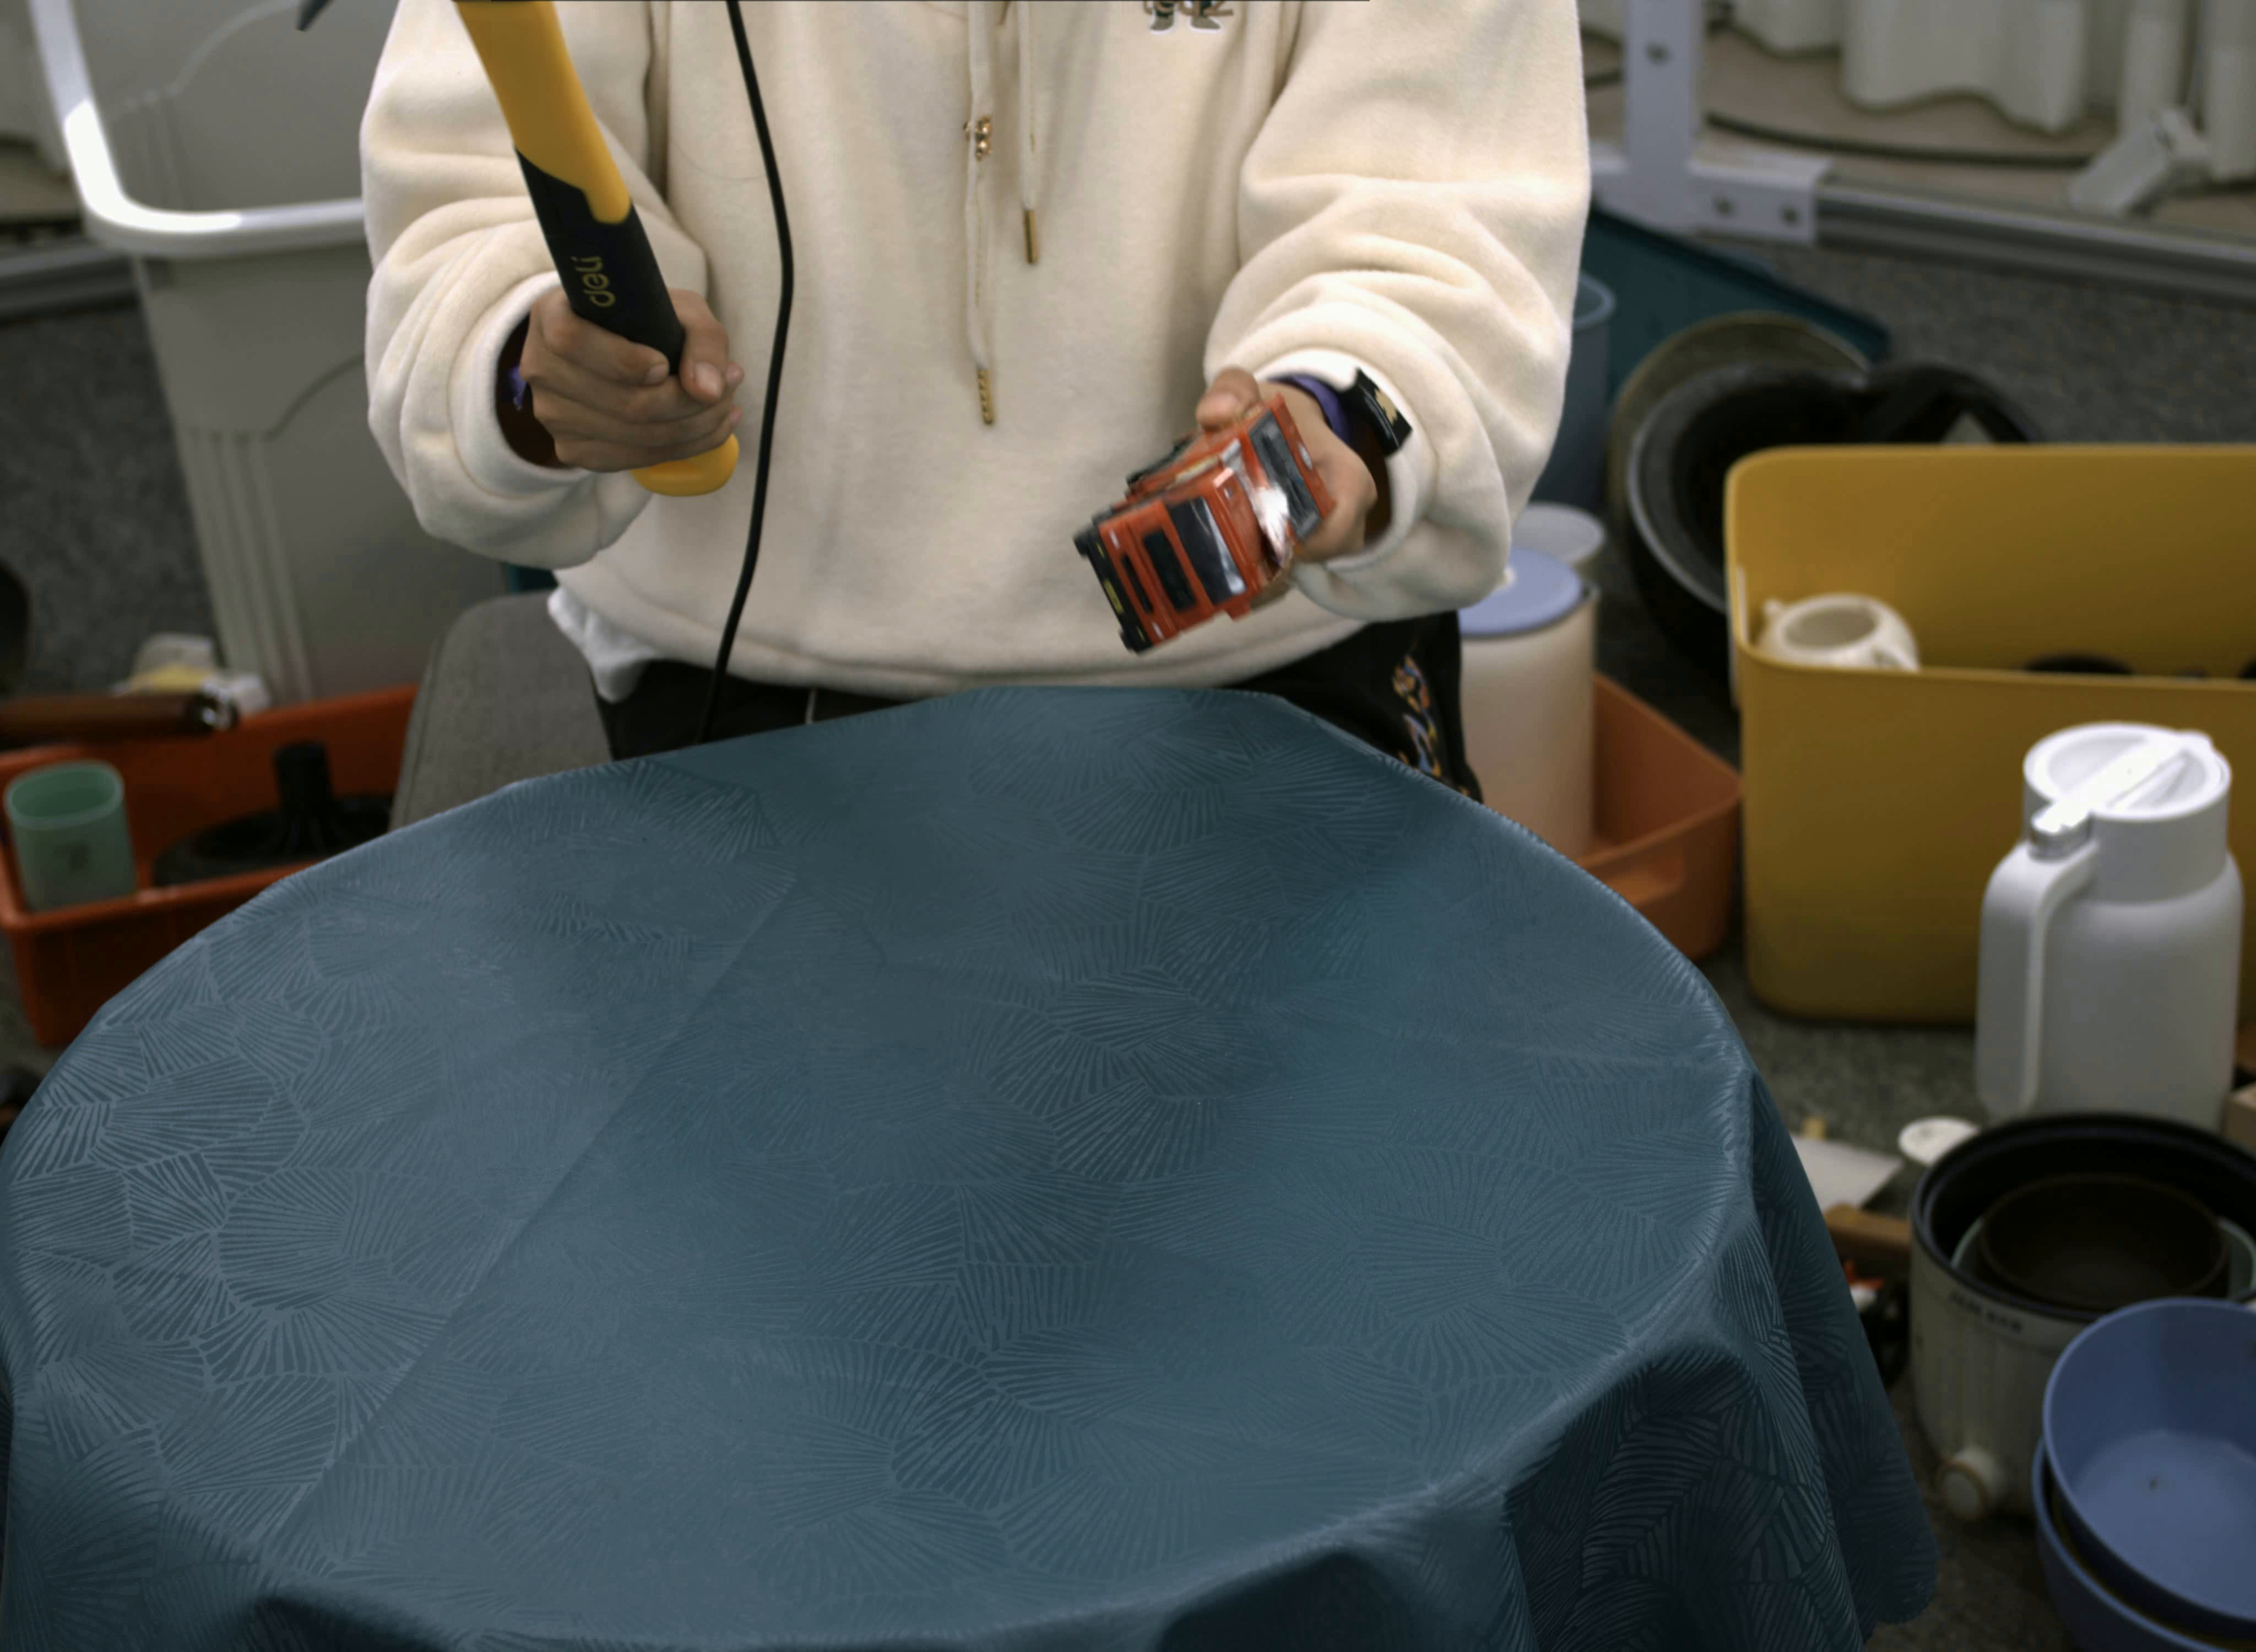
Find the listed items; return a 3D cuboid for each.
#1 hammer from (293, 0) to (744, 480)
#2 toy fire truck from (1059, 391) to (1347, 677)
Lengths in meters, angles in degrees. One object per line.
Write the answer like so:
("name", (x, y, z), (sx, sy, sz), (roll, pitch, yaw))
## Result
("hammer", (-0.187, -0.219, 1.921), (0.130, 0.334, 0.033), (-1, 60, 11))
("toy fire truck", (0.029, -0.098, 1.859), (0.069, 0.054, 0.169), (-23, 9, 15))
